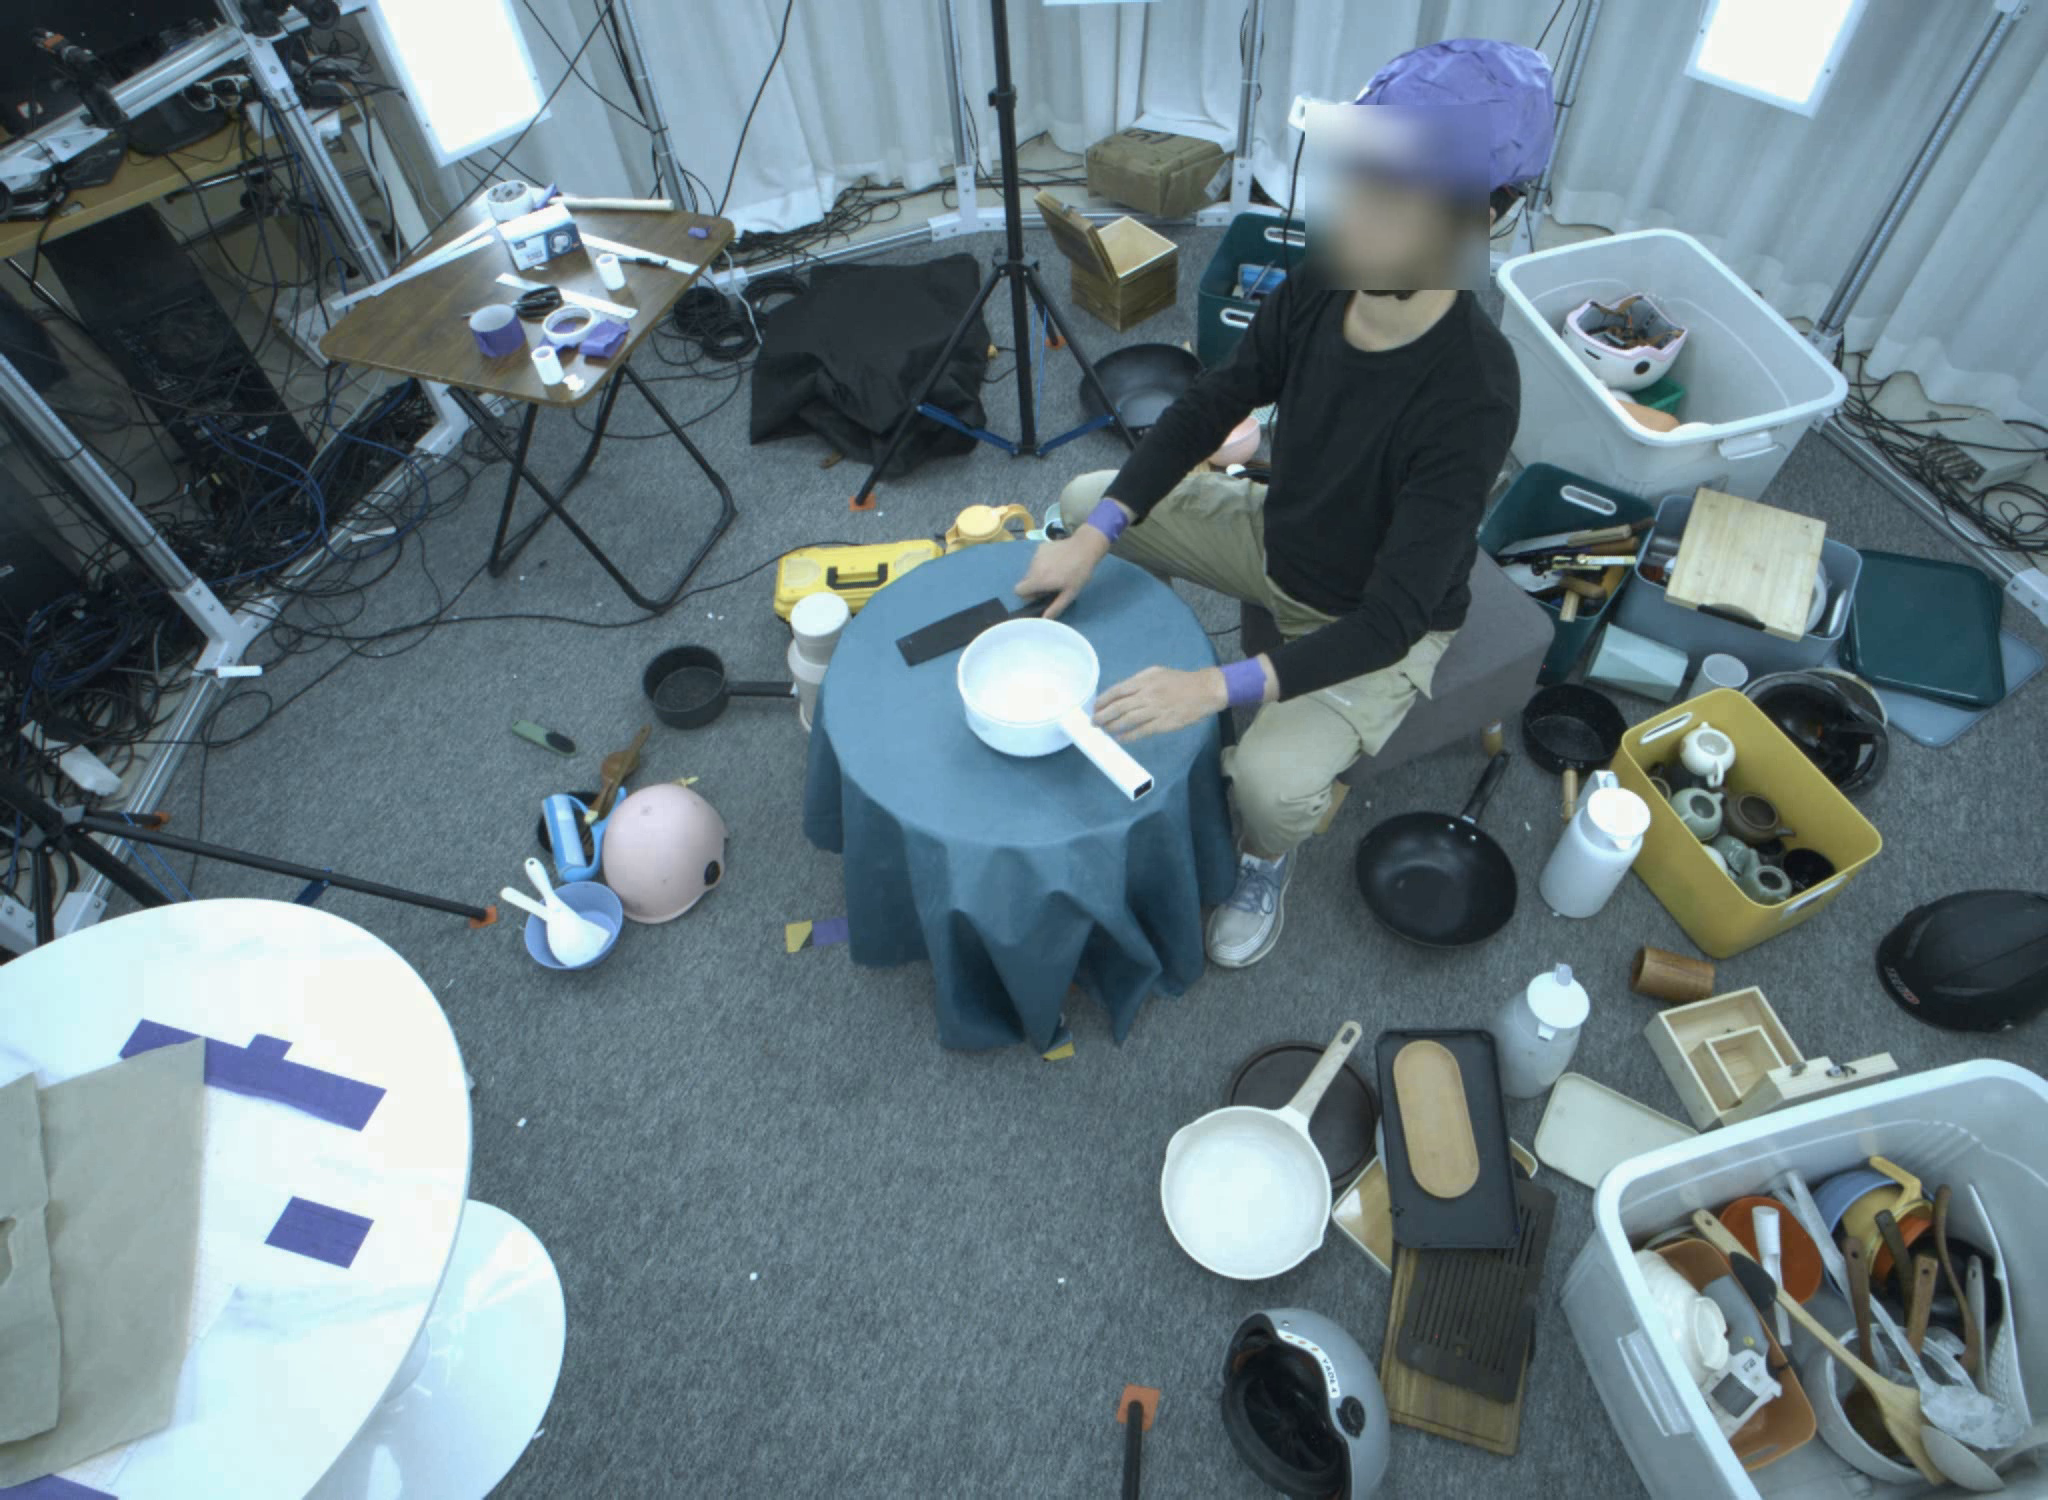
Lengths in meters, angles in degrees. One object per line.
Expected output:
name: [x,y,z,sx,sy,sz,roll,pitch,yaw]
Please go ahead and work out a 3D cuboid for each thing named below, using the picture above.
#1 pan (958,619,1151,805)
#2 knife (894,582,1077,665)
pan: [0.053,-0.036,1.748,0.203,0.103,0.348,-32,61,-20]
knife: [-0.056,-0.206,1.924,0.304,0.021,0.079,-20,55,-9]
